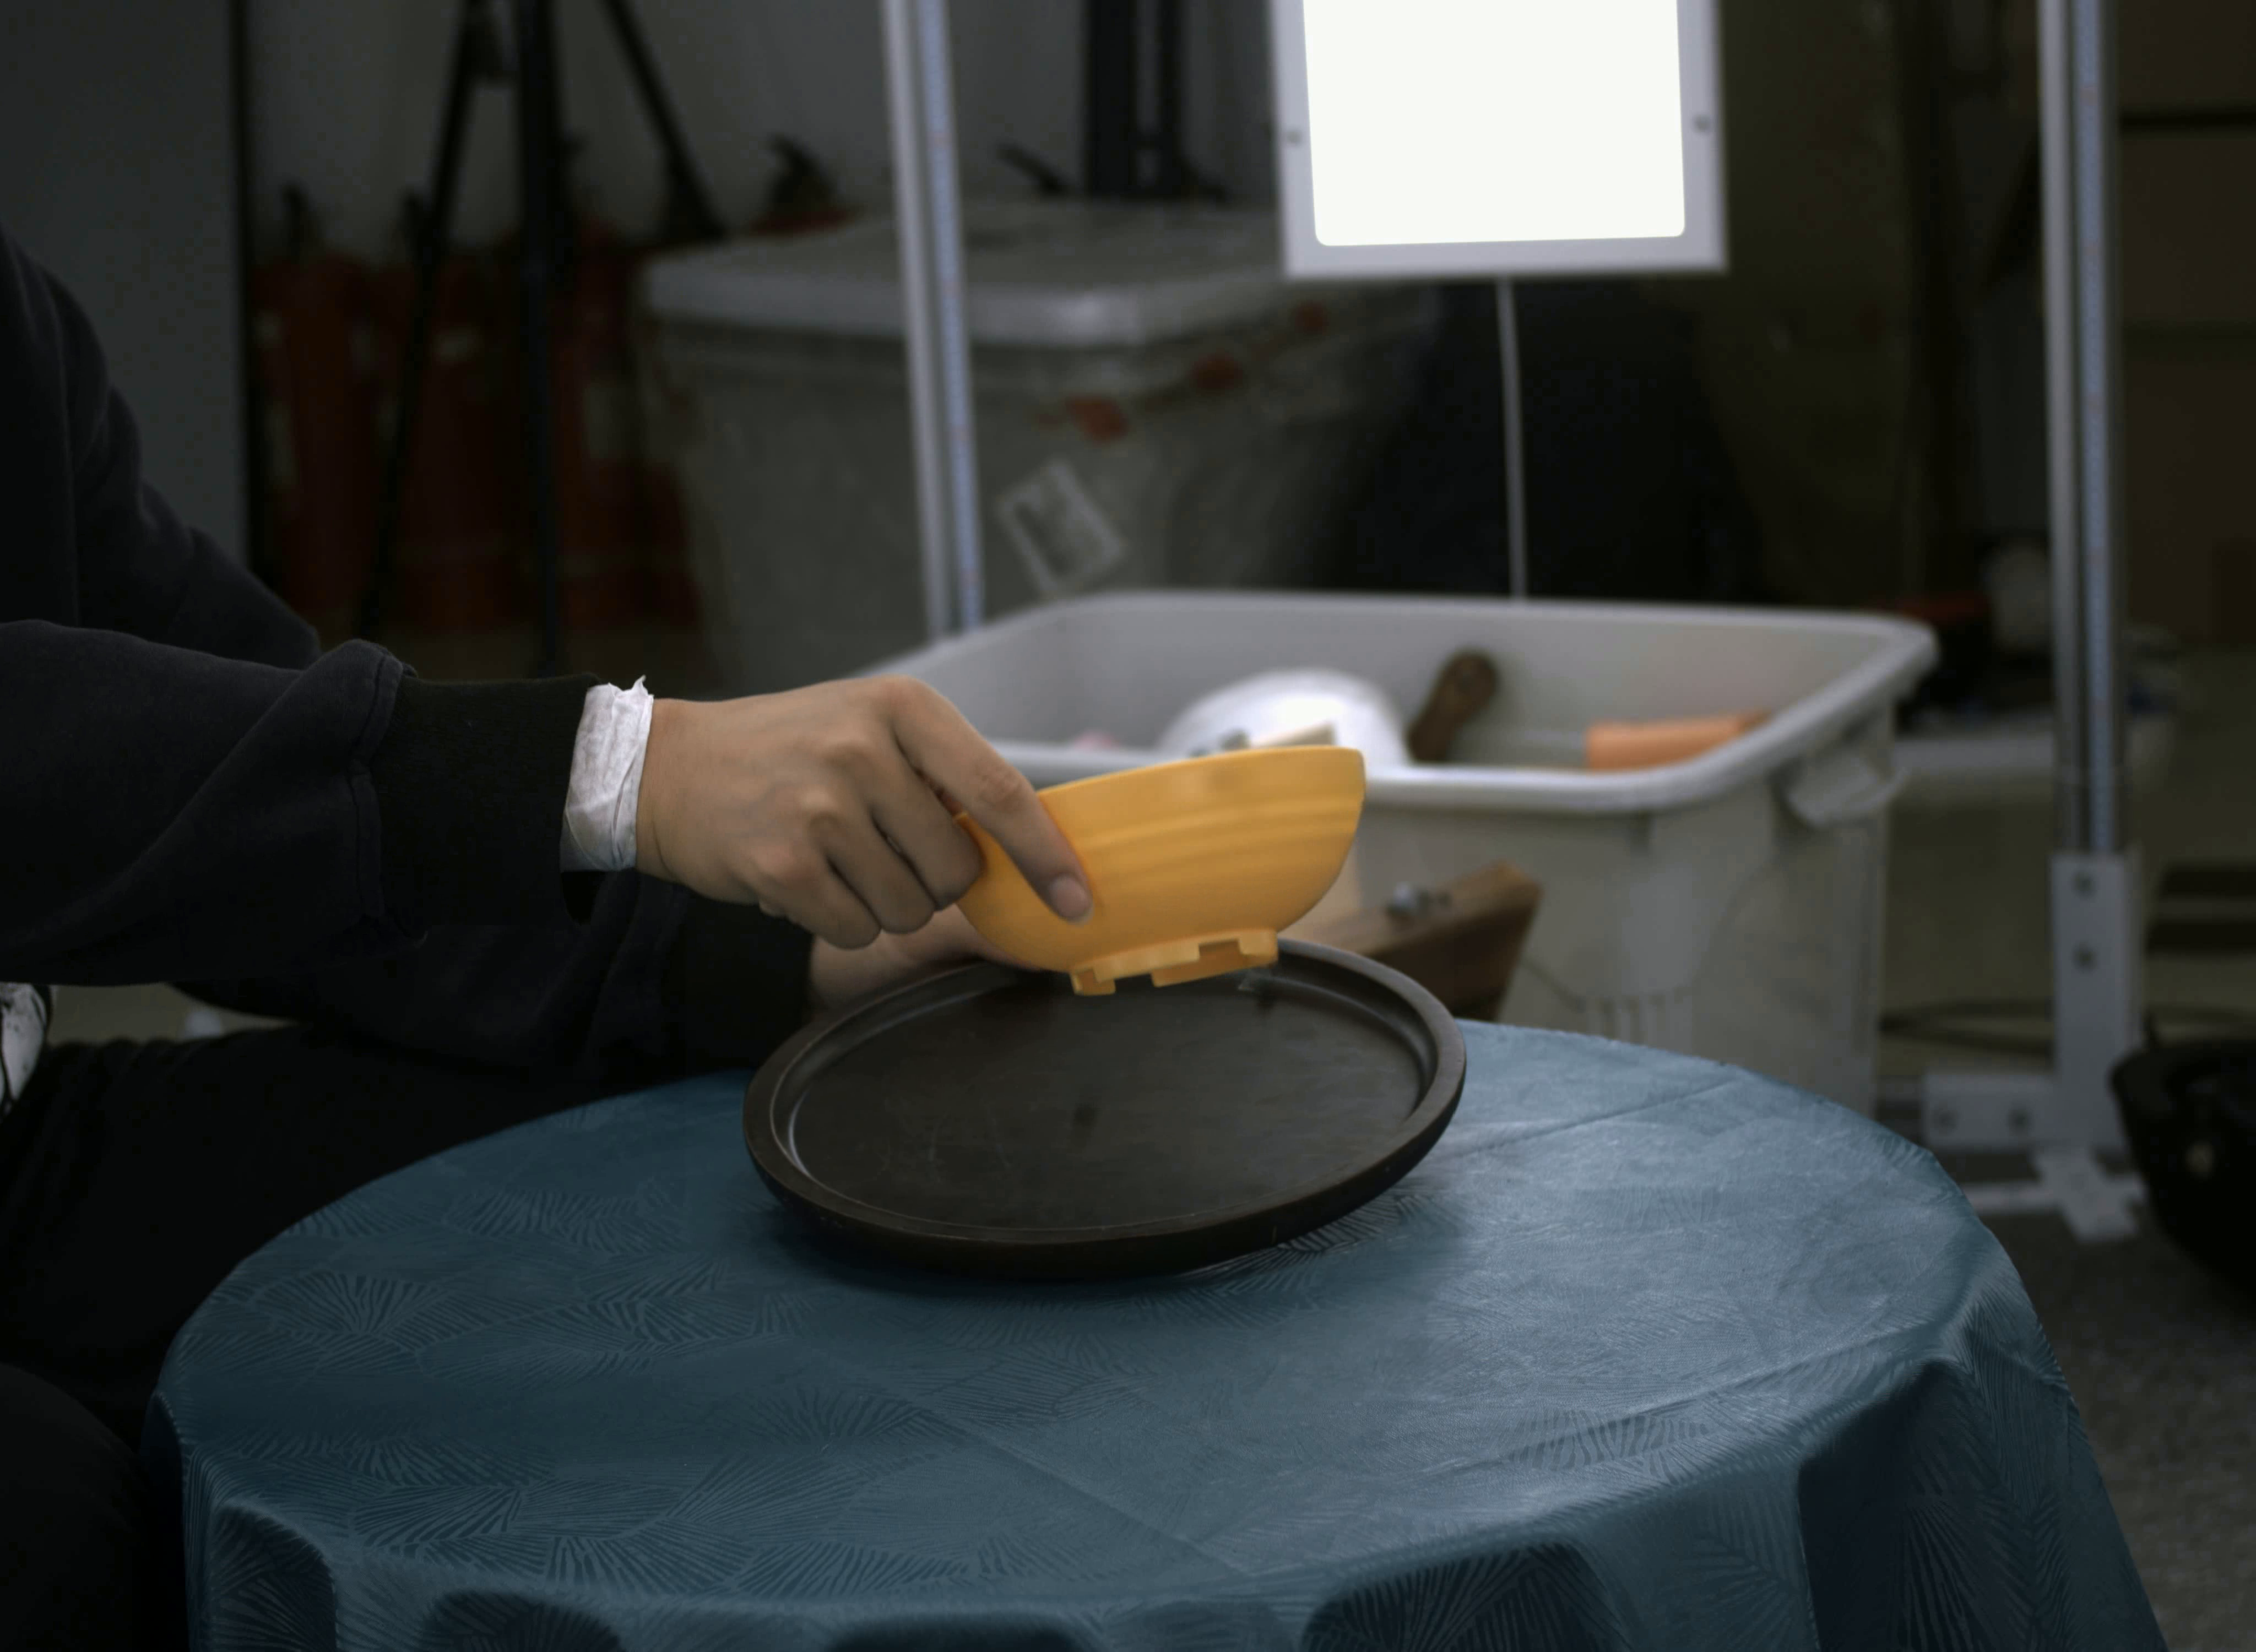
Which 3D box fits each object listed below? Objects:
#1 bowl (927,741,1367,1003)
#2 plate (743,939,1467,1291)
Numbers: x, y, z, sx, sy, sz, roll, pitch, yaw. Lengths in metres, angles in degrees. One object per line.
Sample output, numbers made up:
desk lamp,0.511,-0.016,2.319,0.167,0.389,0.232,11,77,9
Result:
bowl,0.012,0.020,1.740,0.144,0.060,0.145,-12,-8,-3
plate,-0.007,0.096,1.909,0.254,0.029,0.254,-7,23,2
